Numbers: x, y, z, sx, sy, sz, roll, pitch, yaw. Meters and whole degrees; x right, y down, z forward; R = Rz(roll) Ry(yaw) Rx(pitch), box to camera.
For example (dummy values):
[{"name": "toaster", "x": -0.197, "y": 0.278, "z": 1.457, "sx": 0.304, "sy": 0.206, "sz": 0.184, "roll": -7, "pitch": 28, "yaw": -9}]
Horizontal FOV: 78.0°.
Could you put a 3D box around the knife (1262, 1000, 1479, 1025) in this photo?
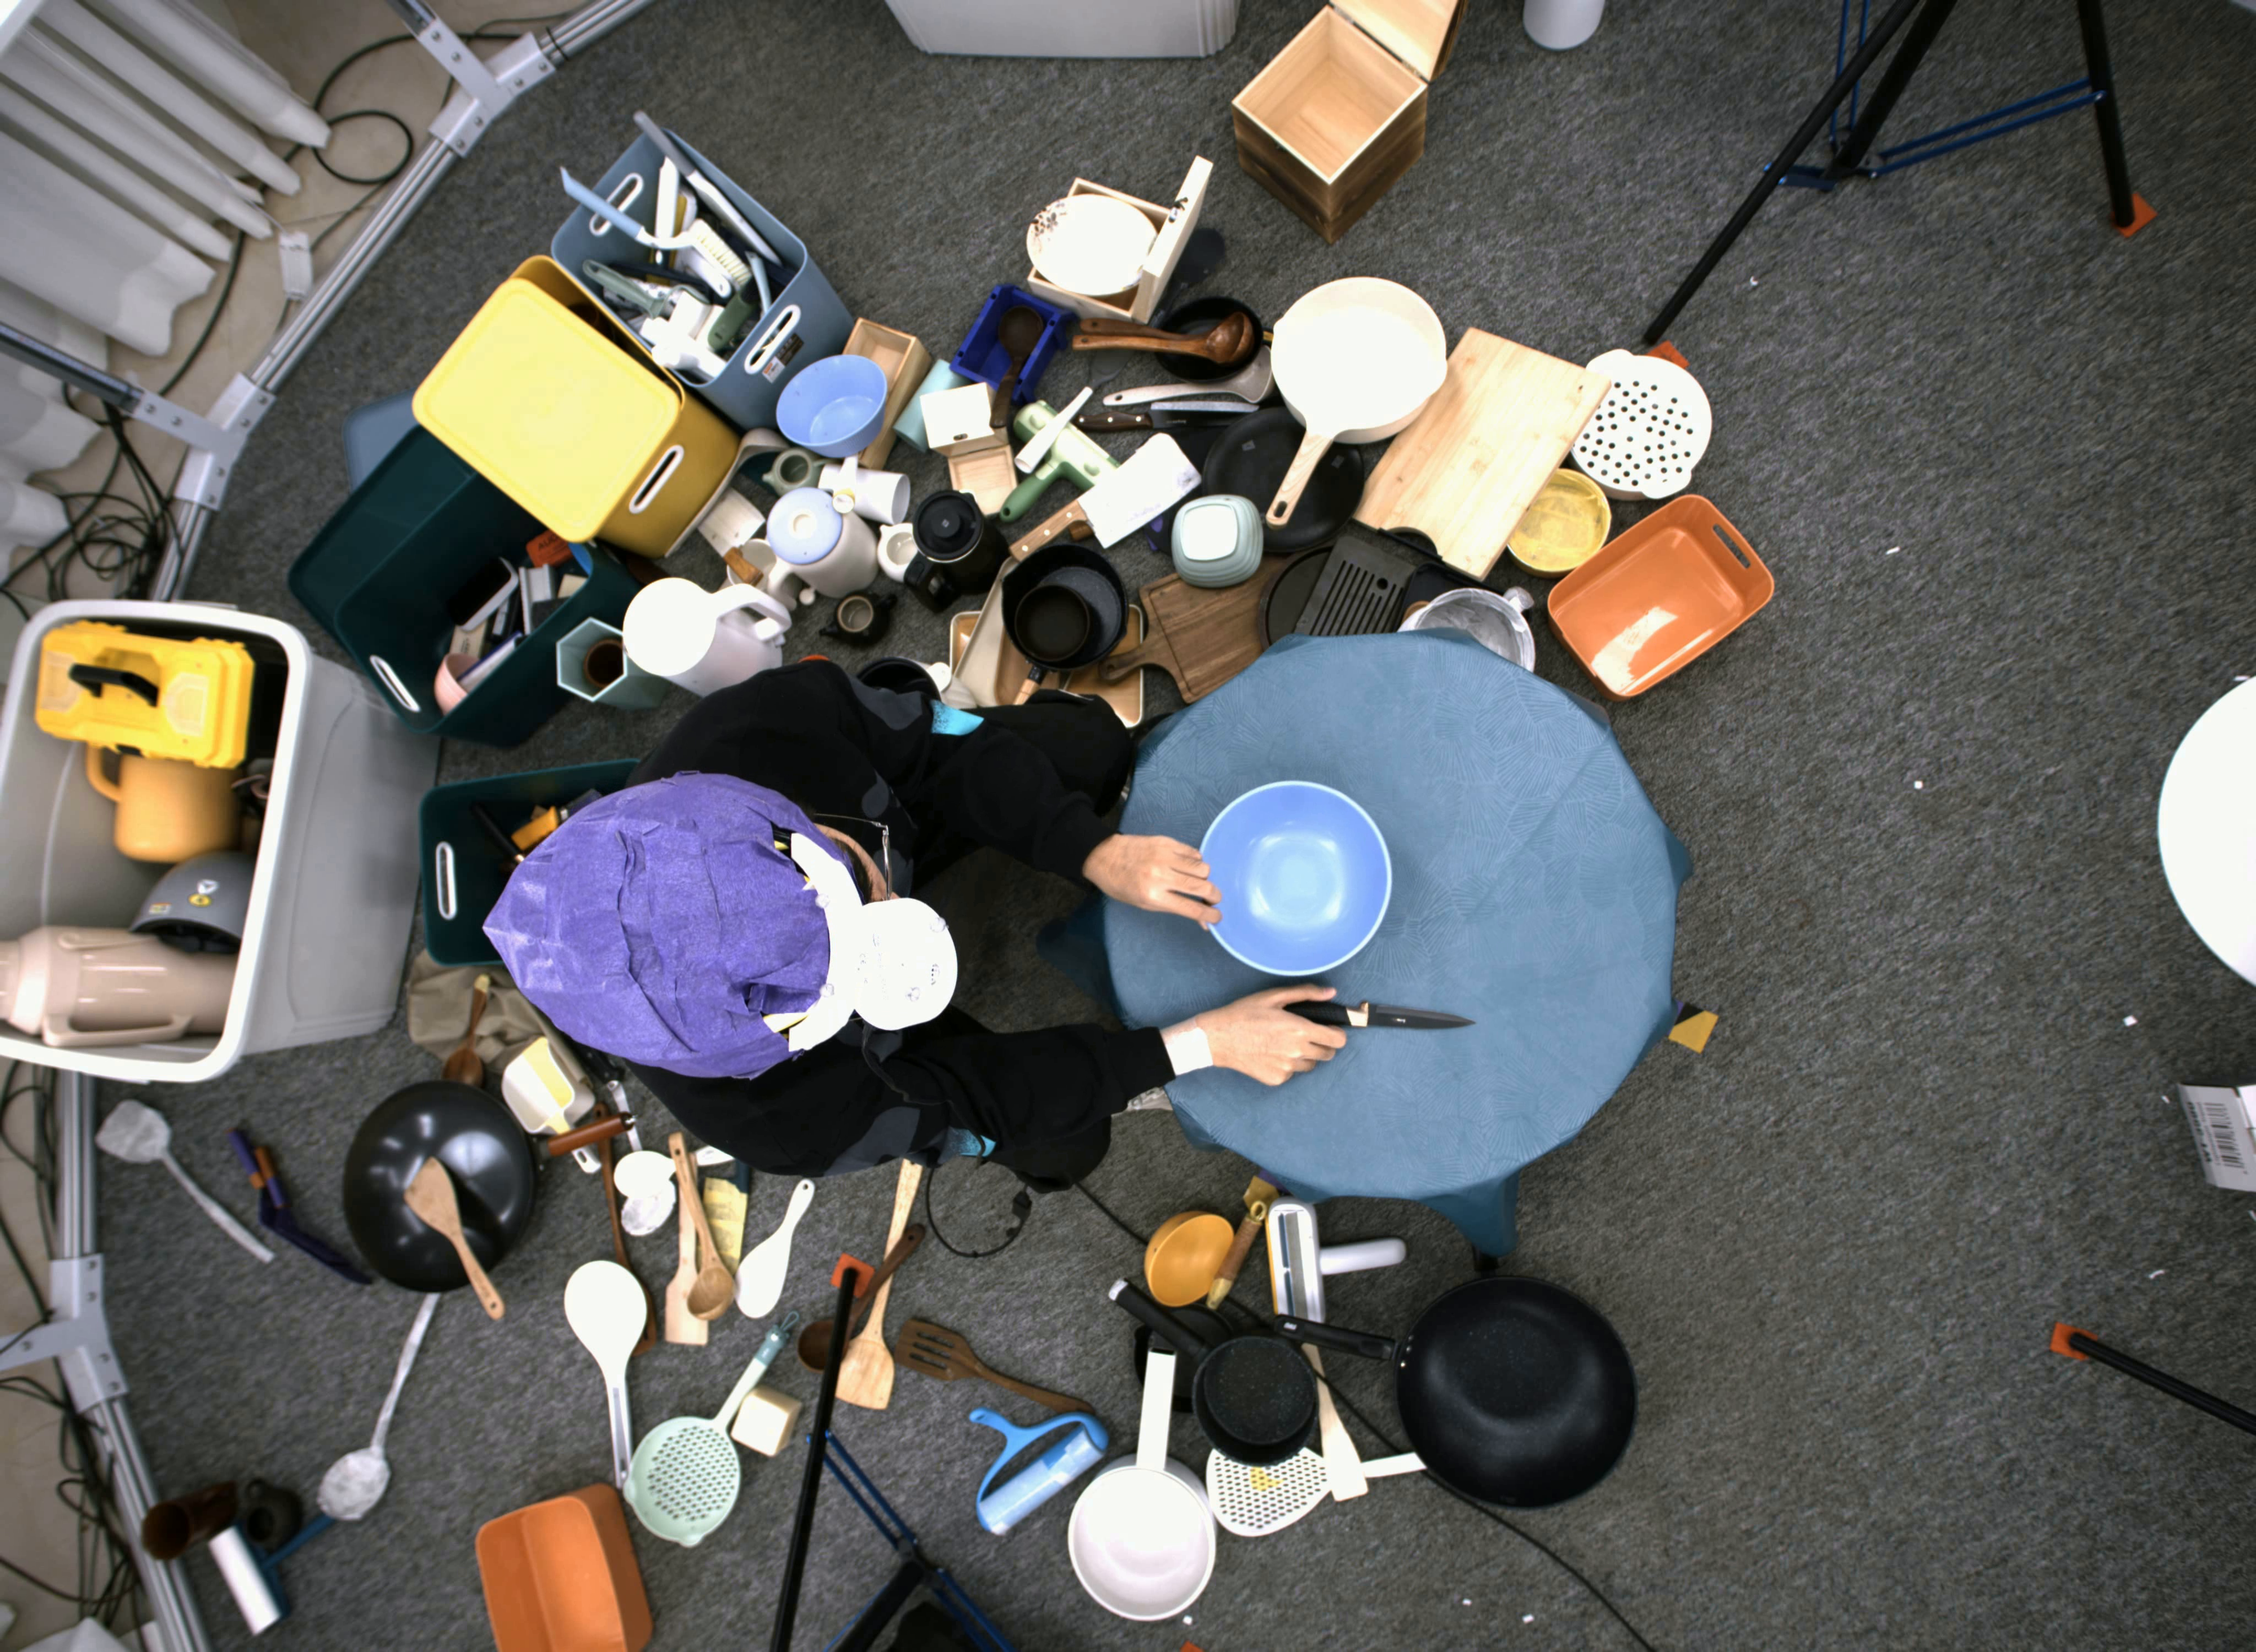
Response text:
[{"name": "knife", "x": 0.253, "y": 0.195, "z": 1.451, "sx": 0.226, "sy": 0.017, "sz": 0.026, "roll": 0, "pitch": 80, "yaw": 9}]

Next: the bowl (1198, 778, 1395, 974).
[{"name": "bowl", "x": 0.173, "y": 0.054, "z": 1.428, "sx": 0.197, "sy": 0.095, "sz": 0.195, "roll": -1, "pitch": 86, "yaw": 8}]
